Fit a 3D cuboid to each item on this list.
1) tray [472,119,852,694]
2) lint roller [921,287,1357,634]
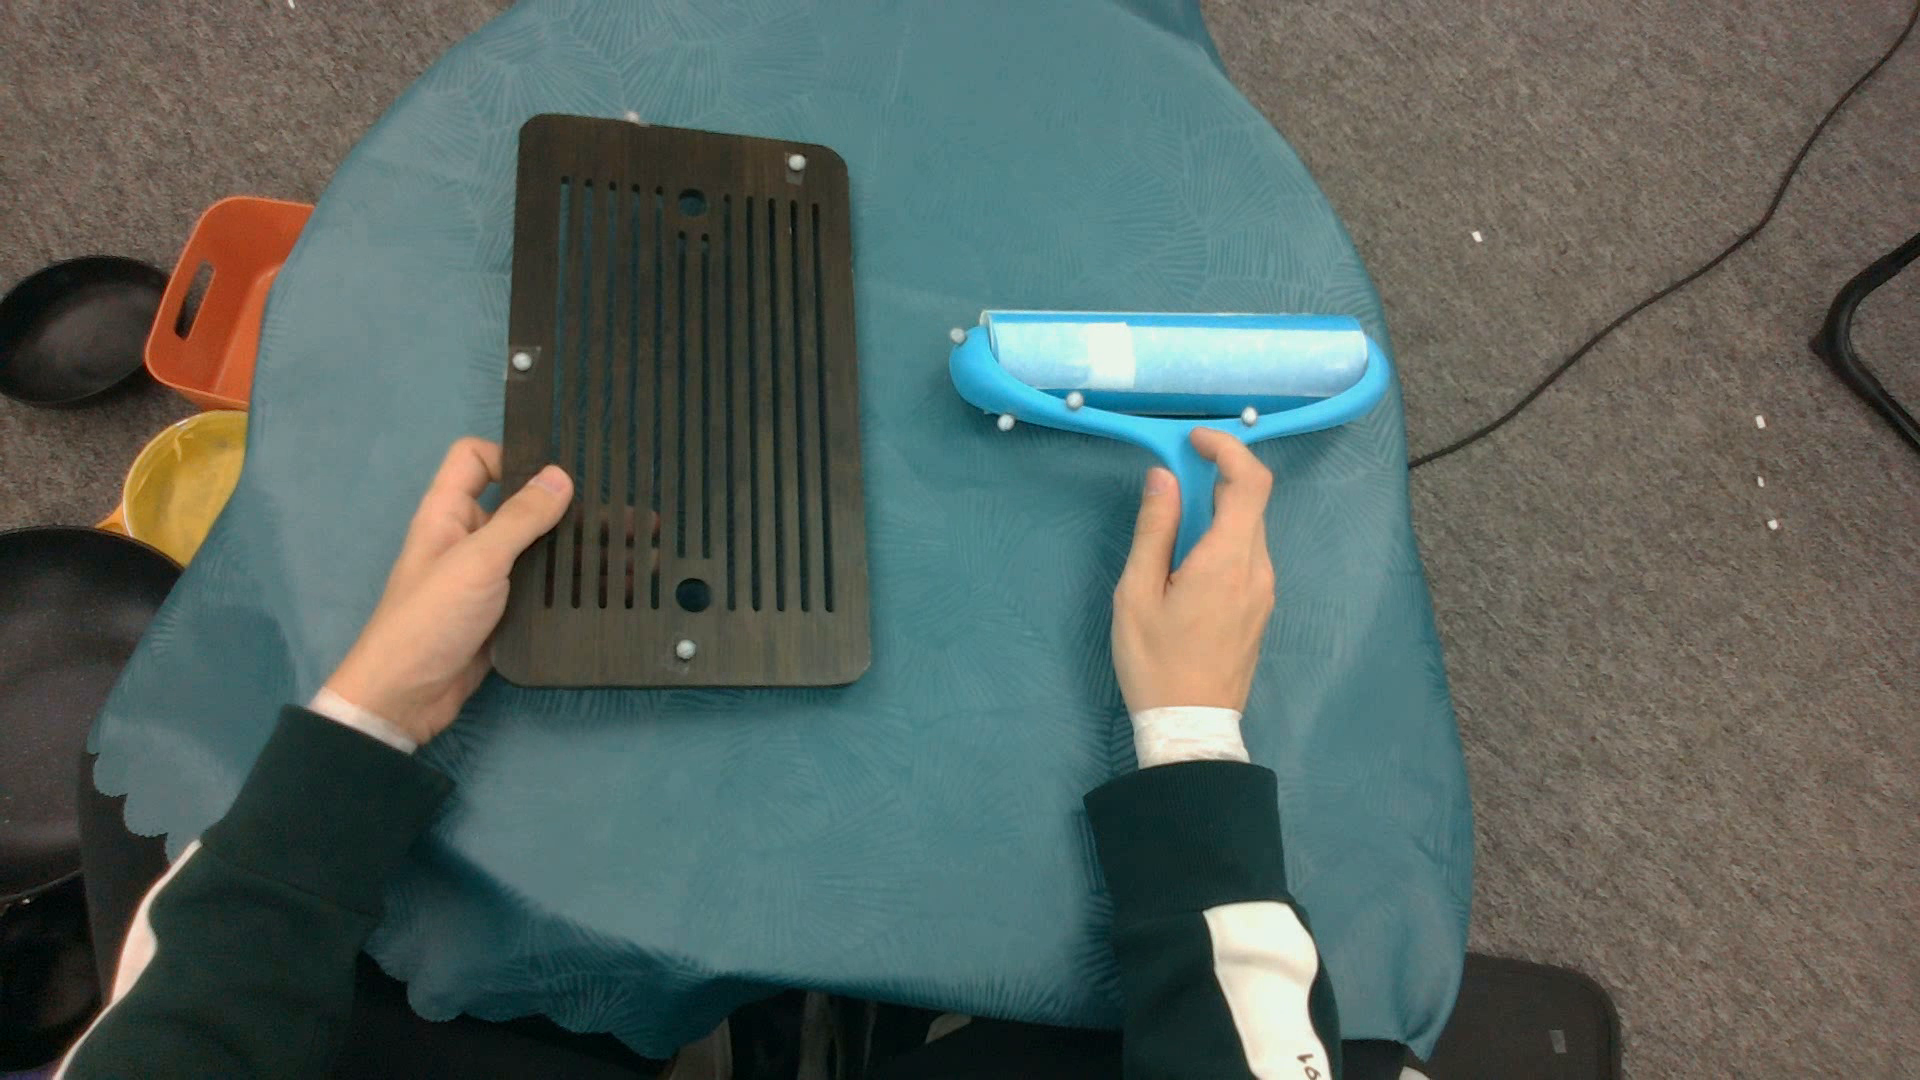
[{"bbox_3d":[-0.150,-0.074,0.681,0.170,0.018,0.307,0,68,-17],"label":"tray"},{"bbox_3d":[0.101,-0.048,0.697,0.229,0.067,0.181,-4,69,-10],"label":"lint roller"}]
